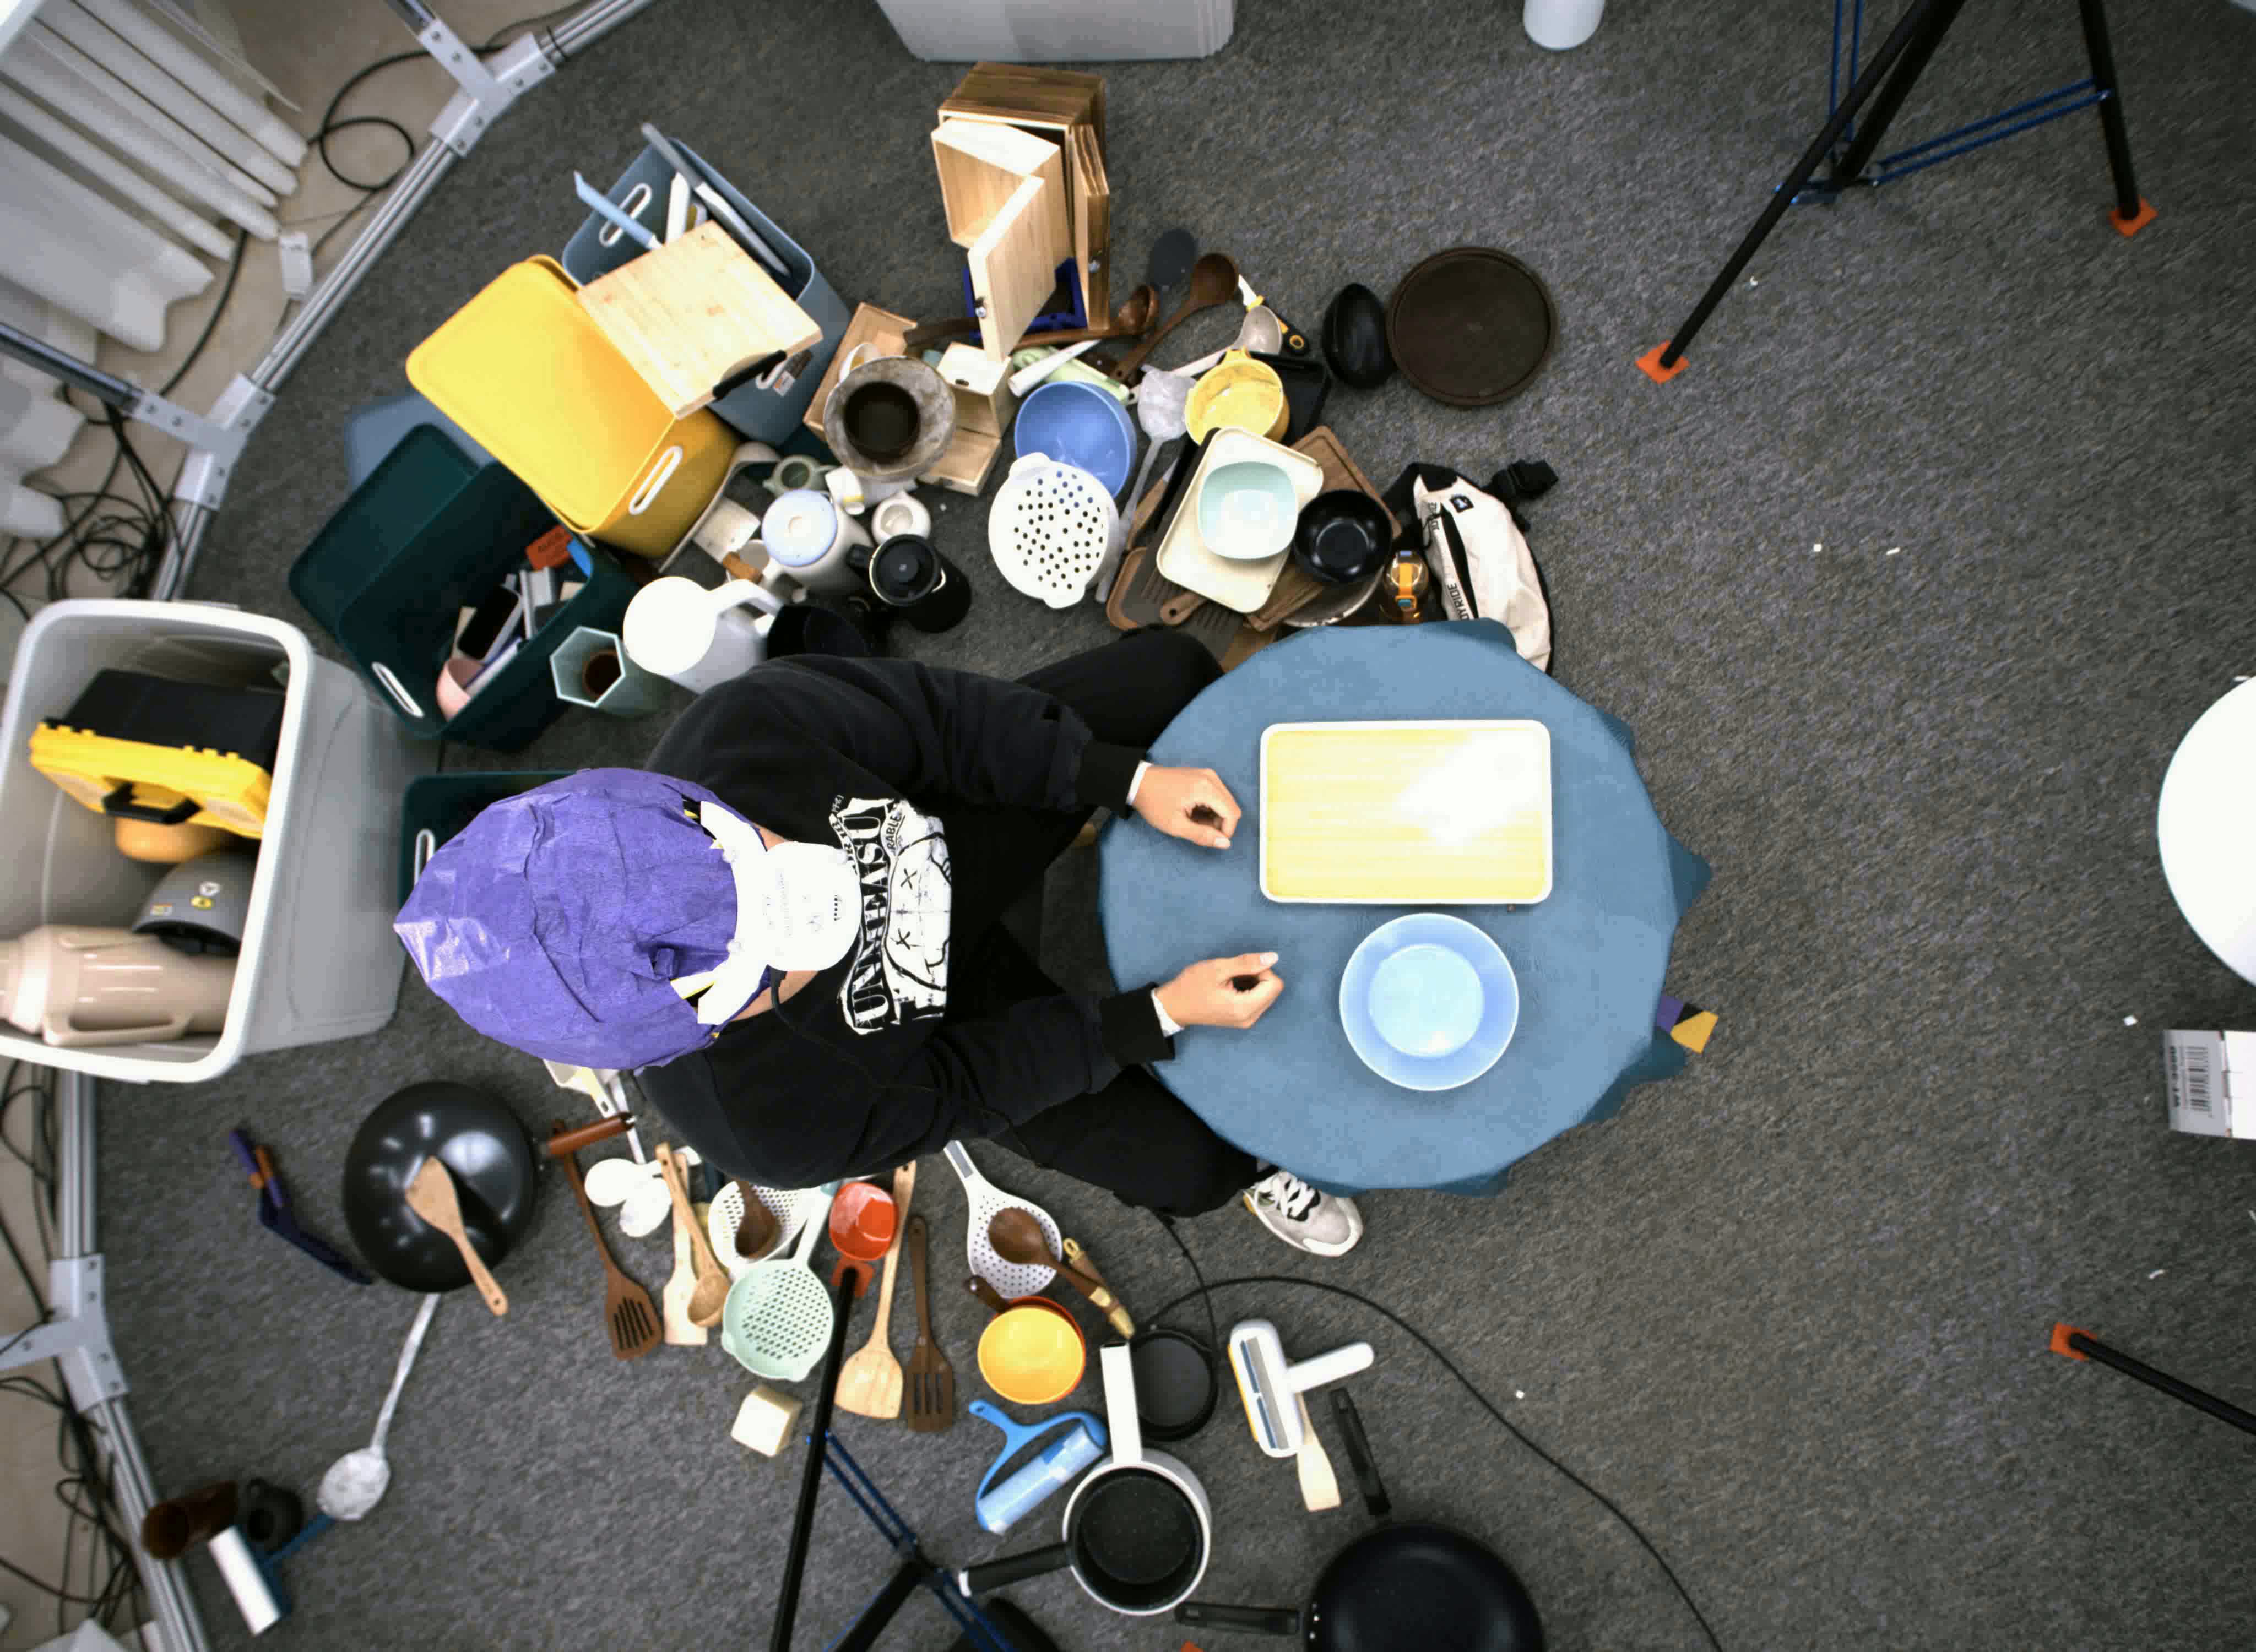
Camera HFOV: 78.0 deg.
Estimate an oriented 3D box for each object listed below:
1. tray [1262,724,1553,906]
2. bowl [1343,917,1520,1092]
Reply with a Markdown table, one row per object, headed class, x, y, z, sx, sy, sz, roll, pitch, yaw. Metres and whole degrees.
| class | x | y | z | sx | sy | sz | roll | pitch | yaw |
| --- | --- | --- | --- | --- | --- | --- | --- | --- | --- |
| tray | 0.292 | -0.013 | 1.453 | 0.301 | 0.027 | 0.190 | 0 | 86 | 10 |
| bowl | 0.309 | 0.181 | 1.414 | 0.177 | 0.070 | 0.175 | -1 | 84 | 10 |
